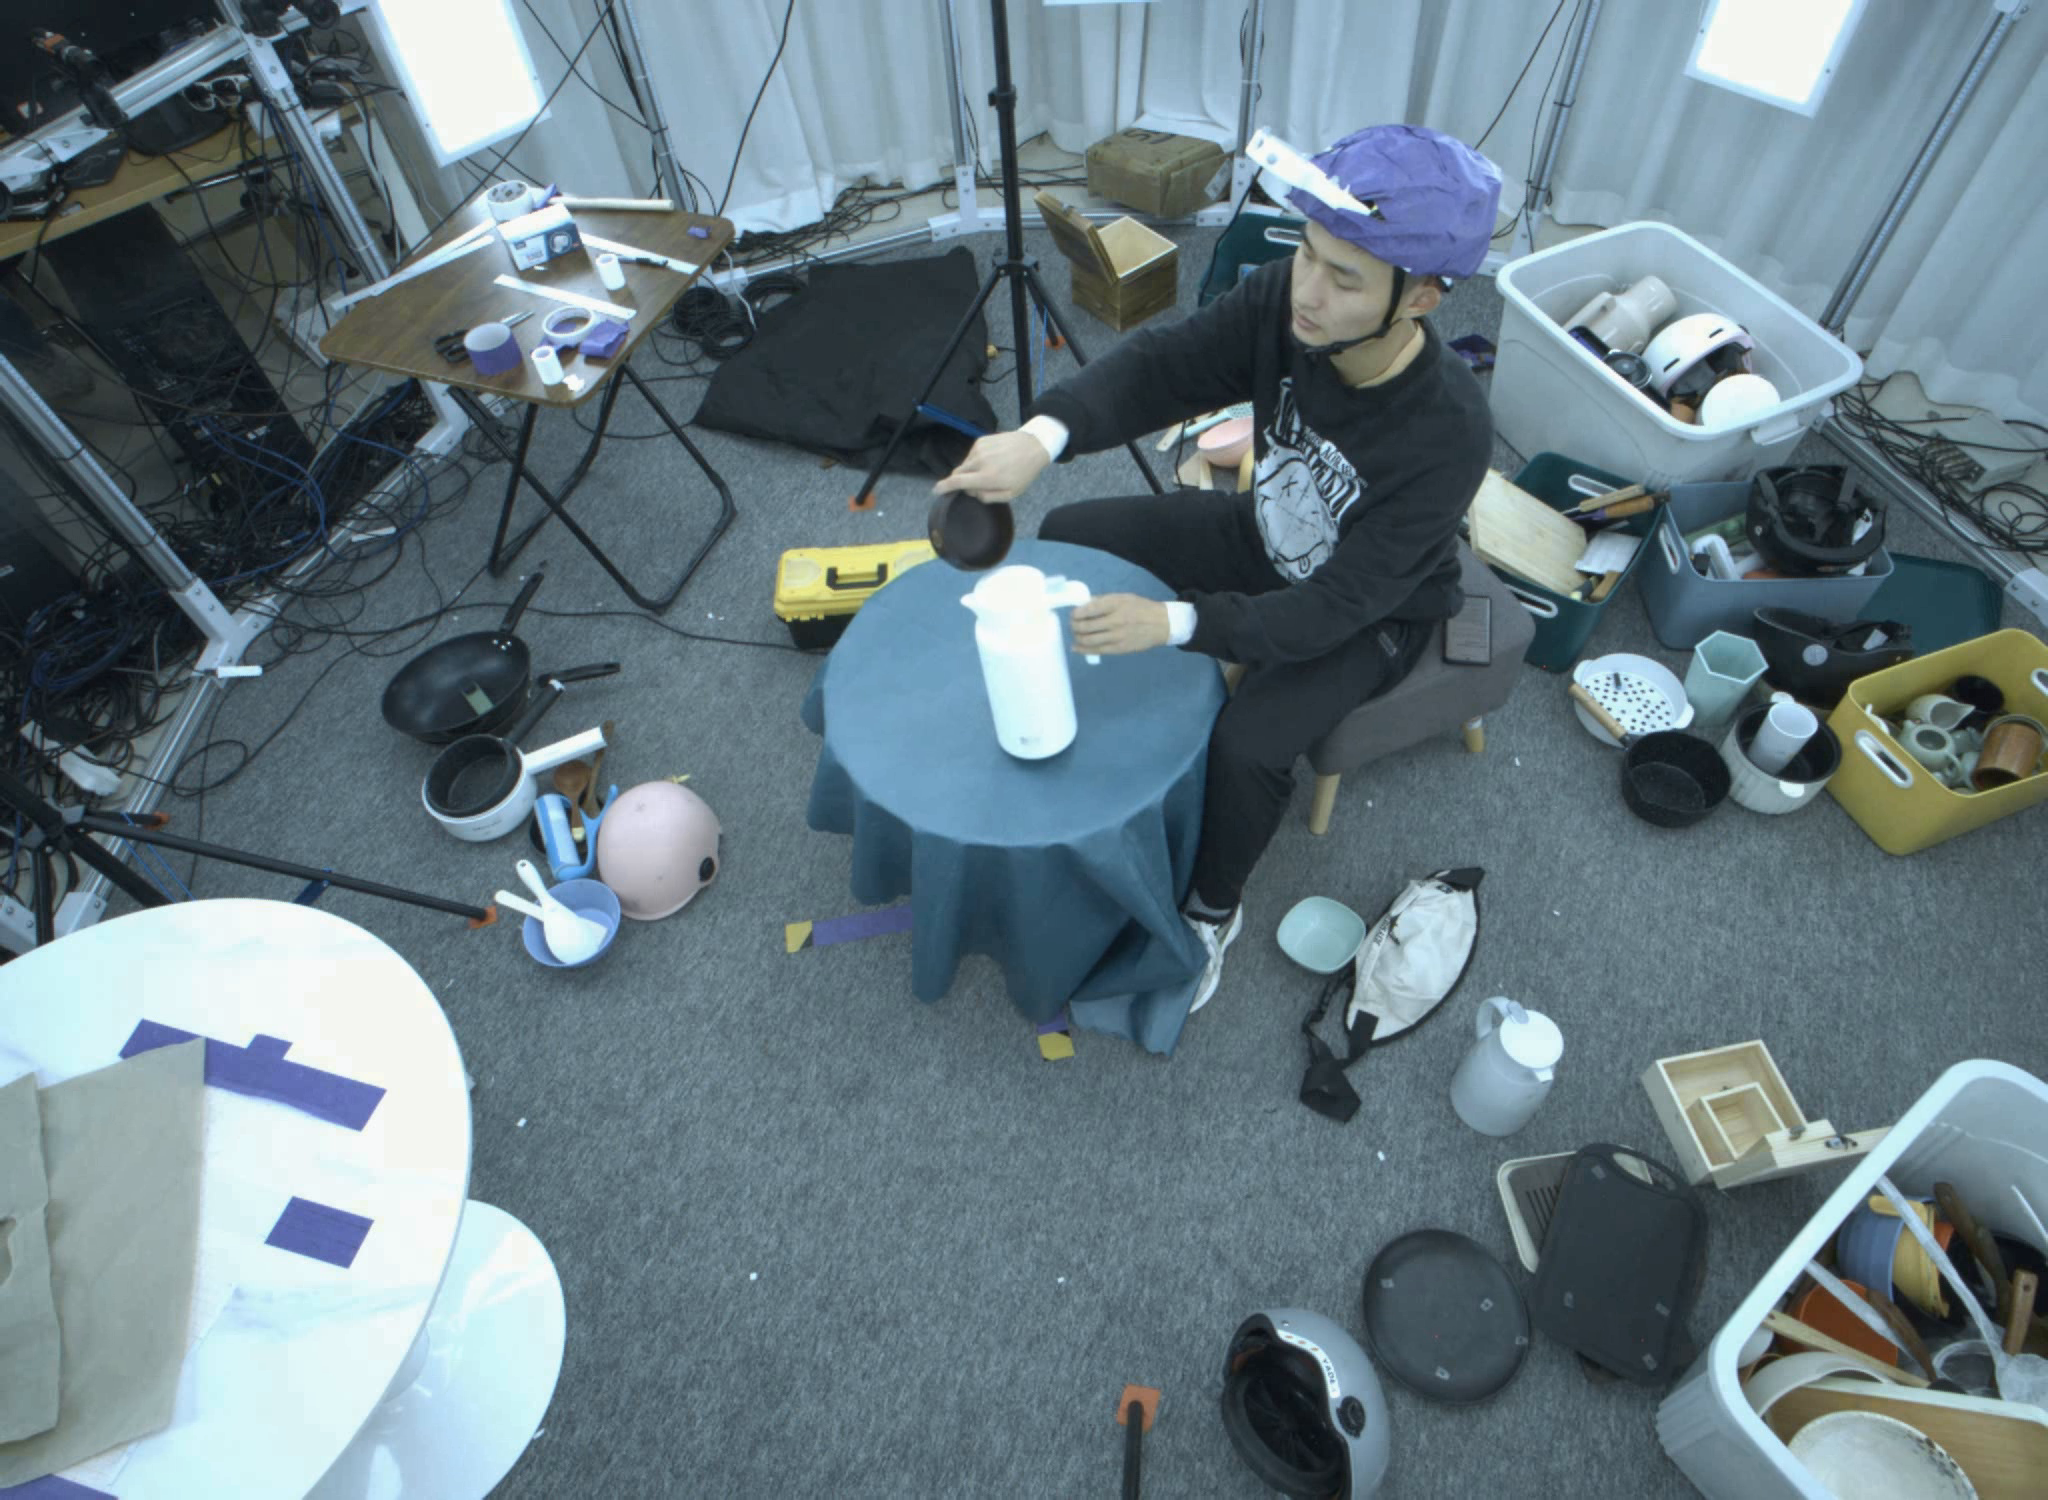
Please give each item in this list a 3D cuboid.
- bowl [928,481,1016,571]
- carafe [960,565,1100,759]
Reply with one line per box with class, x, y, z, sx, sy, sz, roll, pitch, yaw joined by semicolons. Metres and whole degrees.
bowl;-0.077;-0.295;1.612;0.119;0.120;0.068;-43;31;-24
carafe;0.018;-0.123;1.696;0.173;0.272;0.122;-11;41;1
